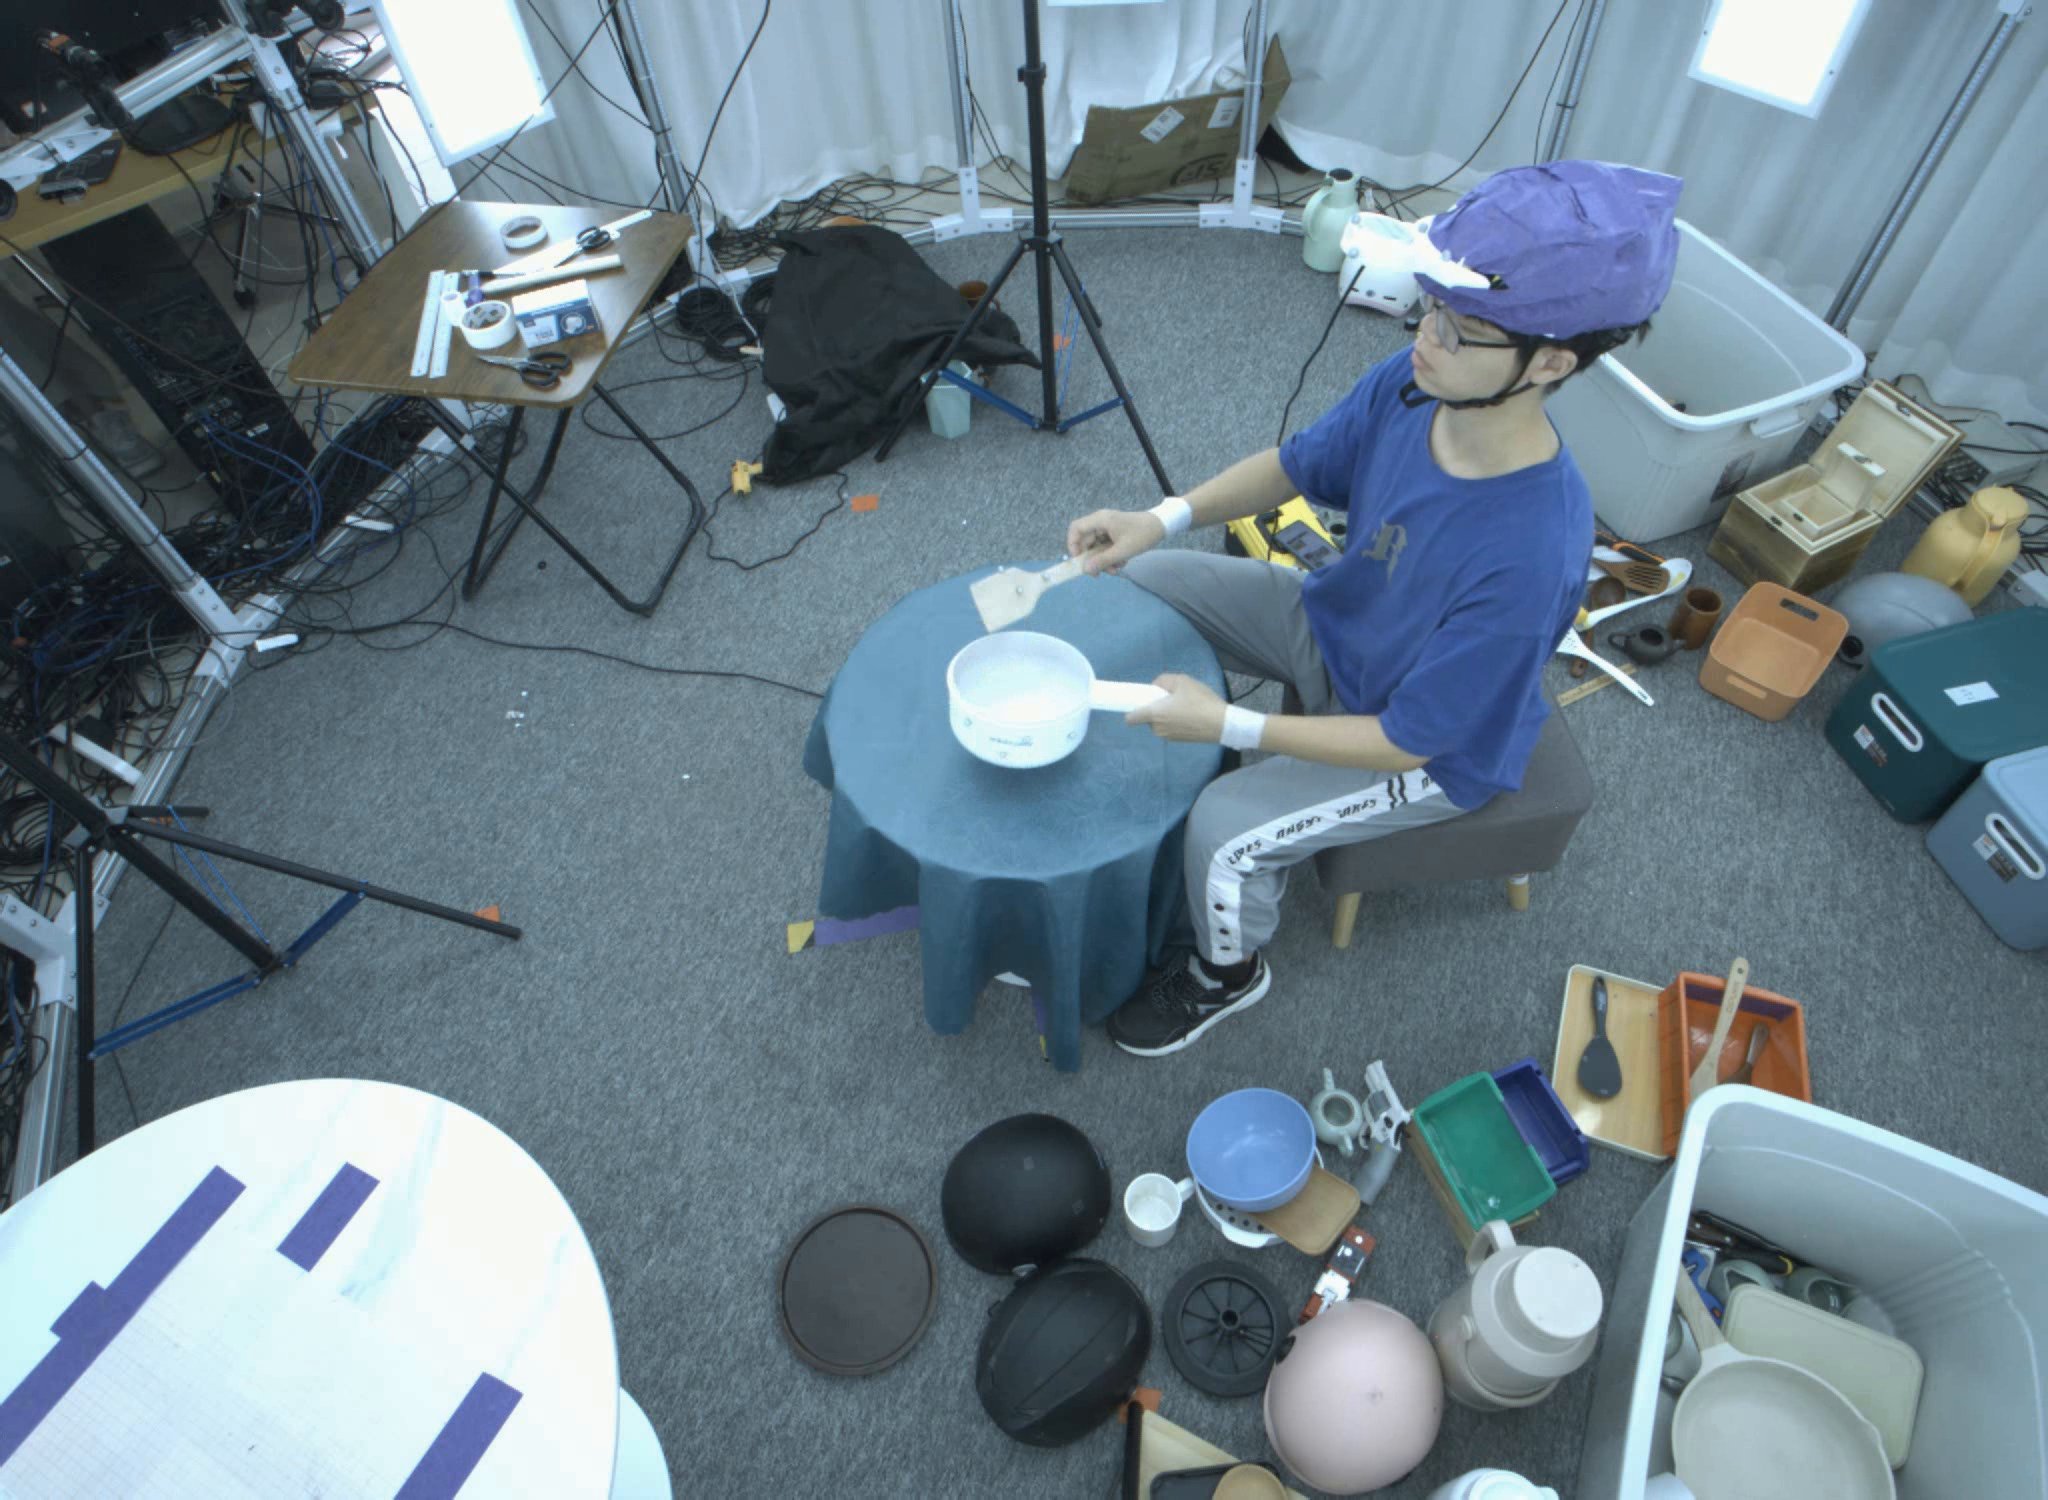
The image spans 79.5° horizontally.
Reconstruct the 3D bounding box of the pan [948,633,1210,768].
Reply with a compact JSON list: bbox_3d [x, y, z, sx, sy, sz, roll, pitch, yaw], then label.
[{"bbox_3d":[0.072,-0.057,1.687,0.355,0.103,0.199,6,40,0],"label":"pan"}]

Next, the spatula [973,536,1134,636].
[{"bbox_3d":[0.049,-0.245,1.726,0.296,0.010,0.073,-30,103,-32],"label":"spatula"}]
